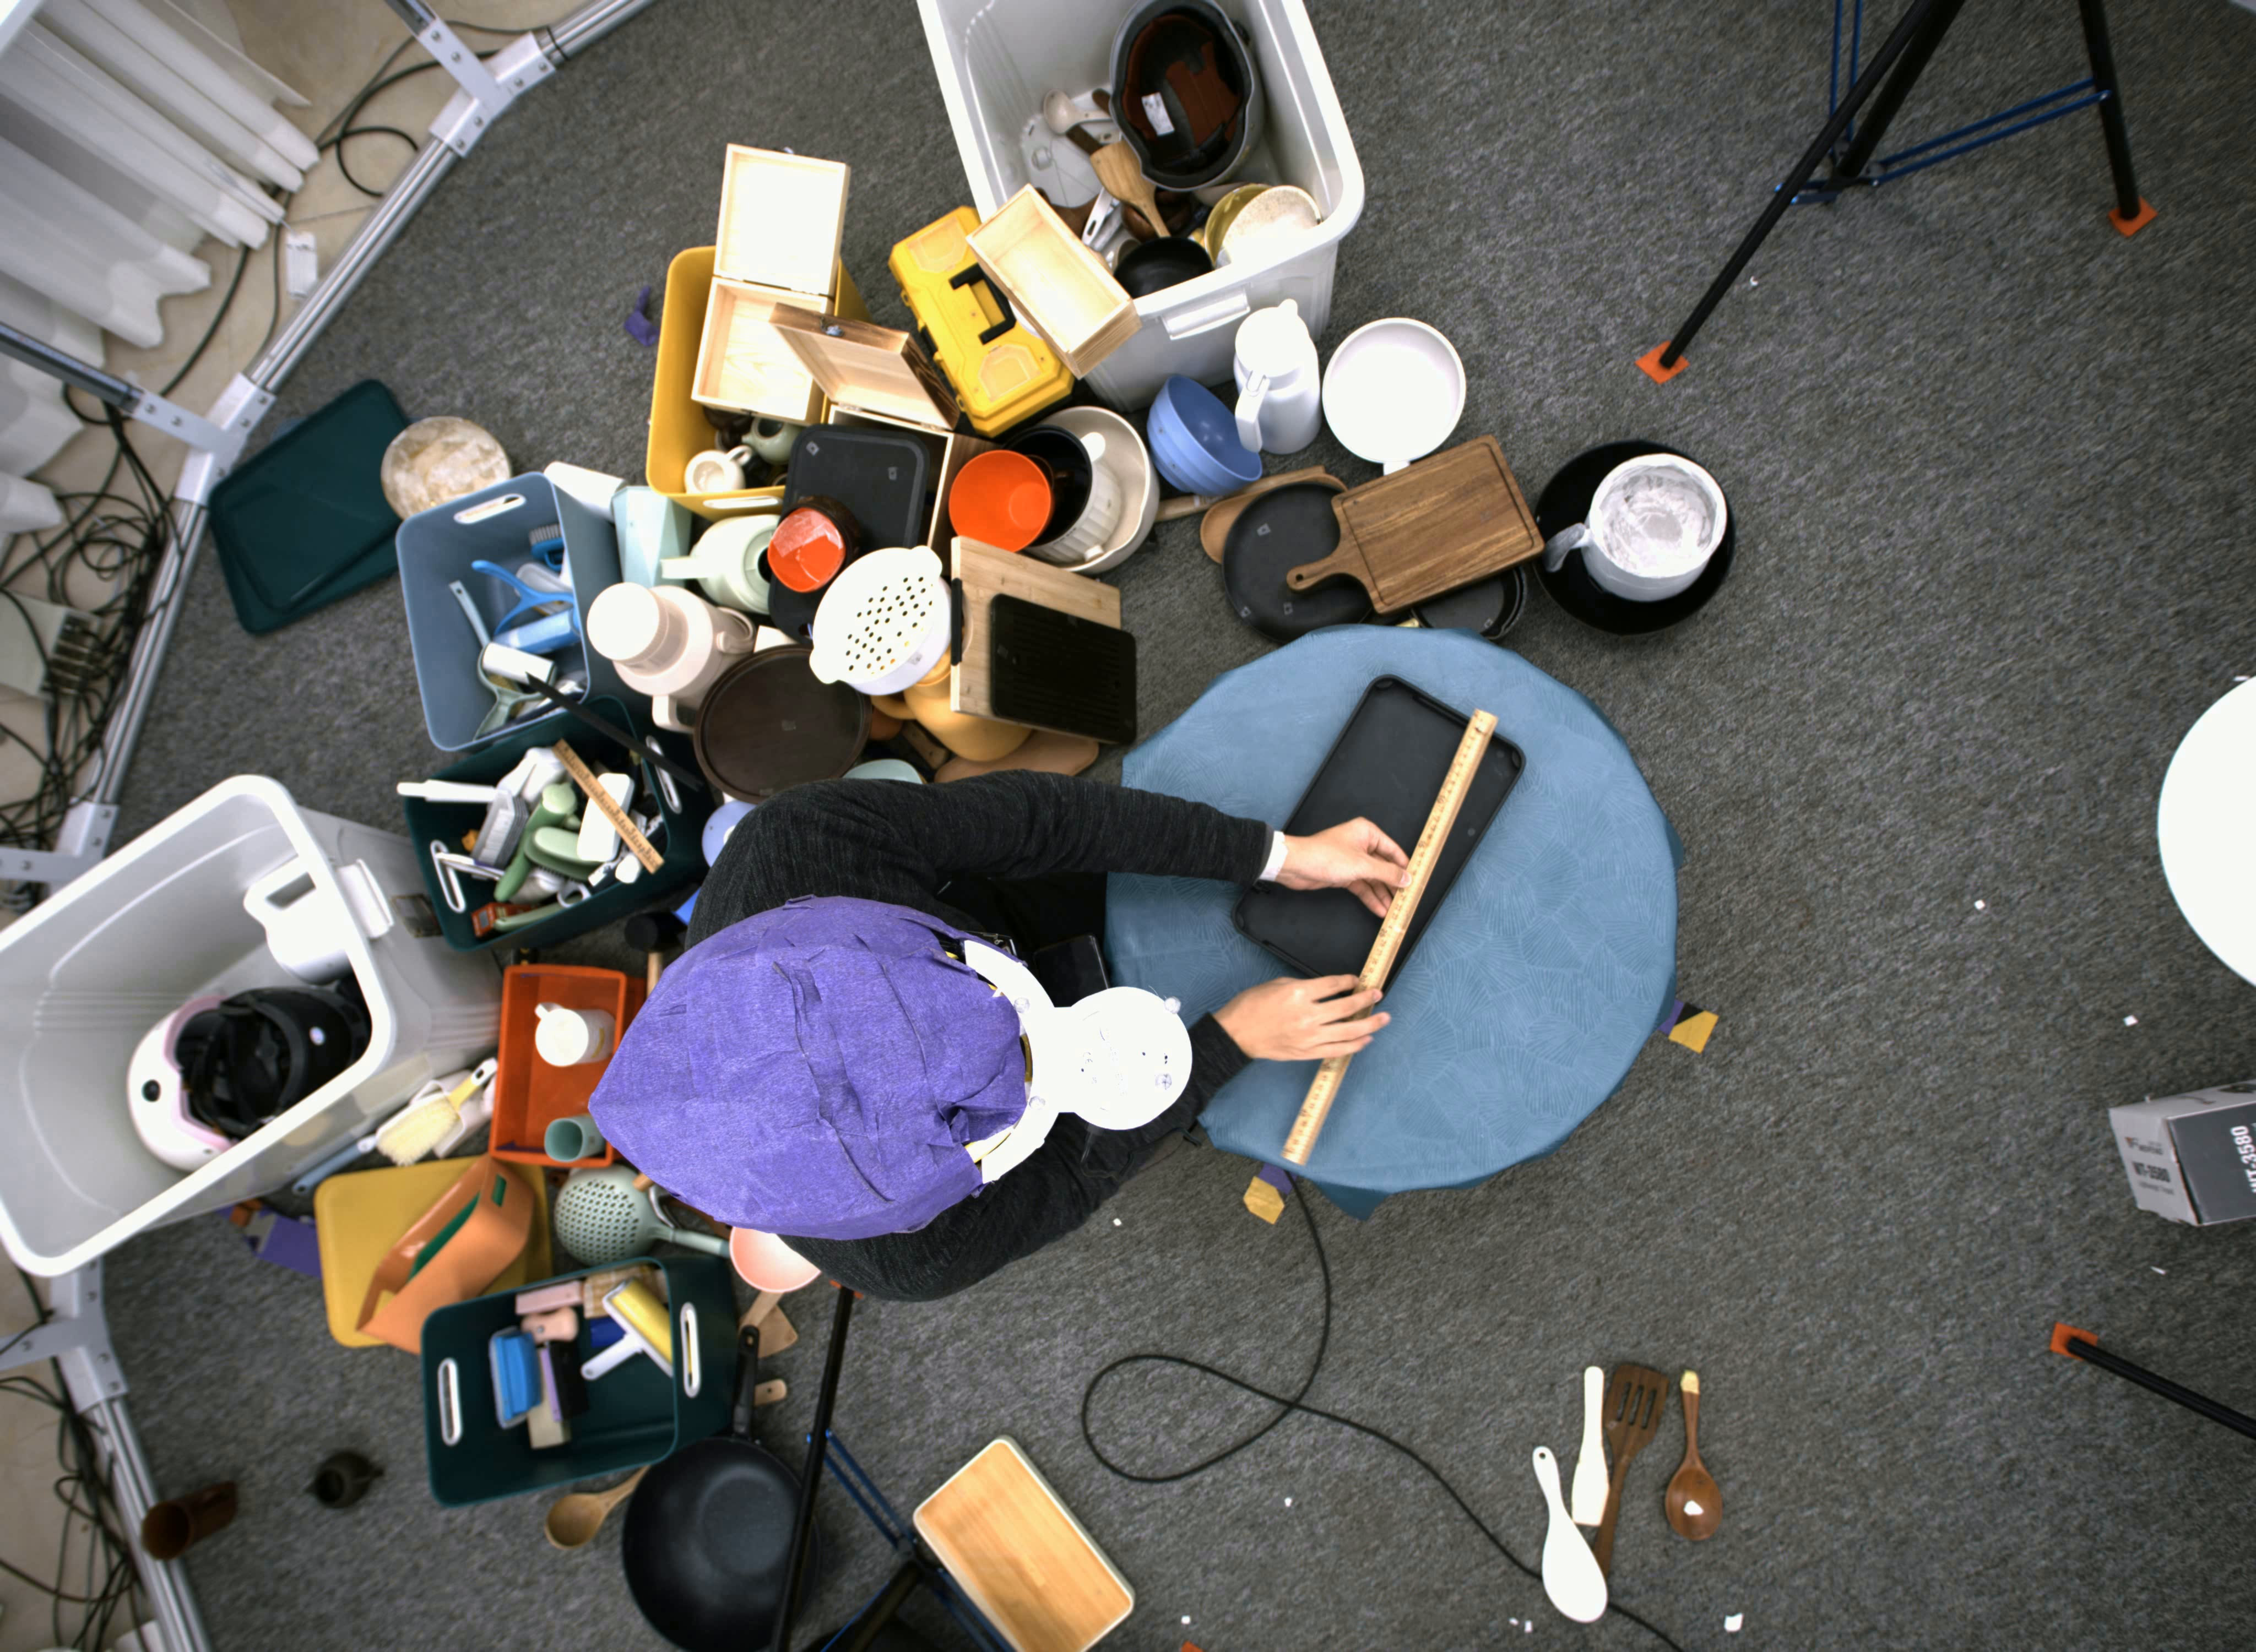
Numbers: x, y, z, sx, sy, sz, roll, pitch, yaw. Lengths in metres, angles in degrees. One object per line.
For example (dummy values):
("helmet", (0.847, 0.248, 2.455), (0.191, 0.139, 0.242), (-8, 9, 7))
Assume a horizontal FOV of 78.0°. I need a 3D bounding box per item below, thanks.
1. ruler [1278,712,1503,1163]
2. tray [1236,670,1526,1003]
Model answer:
("ruler", (0.268, 0.112, 1.412), (0.027, 0.006, 0.501), (25, 92, 17))
("tray", (0.264, 0.010, 1.447), (0.184, 0.037, 0.318), (30, 93, 11))
